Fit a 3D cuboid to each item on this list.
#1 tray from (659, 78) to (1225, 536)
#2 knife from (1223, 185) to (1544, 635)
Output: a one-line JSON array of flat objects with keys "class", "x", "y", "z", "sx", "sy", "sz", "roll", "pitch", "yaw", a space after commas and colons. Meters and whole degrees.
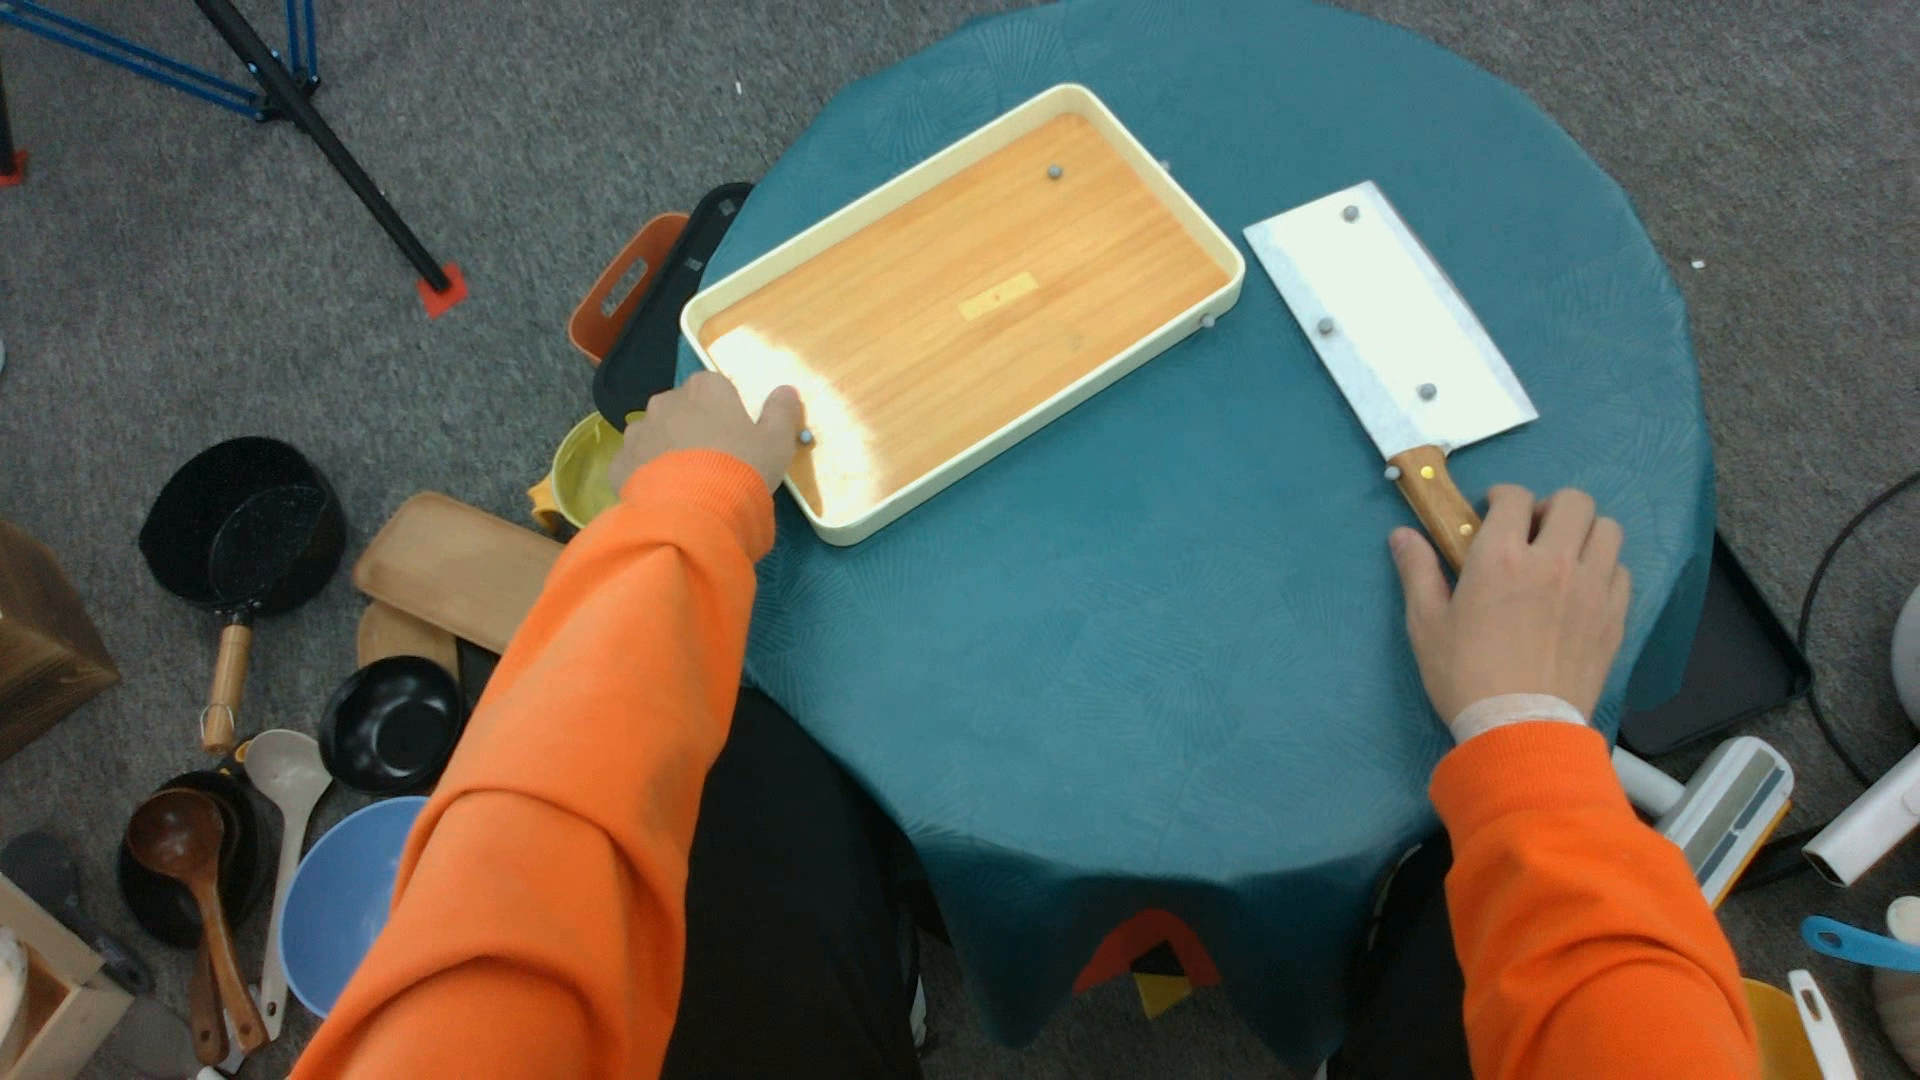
[{"class": "tray", "x": -0.011, "y": -0.148, "z": 0.830, "sx": 0.301, "sy": 0.027, "sz": 0.192, "roll": -32, "pitch": 67, "yaw": -10}, {"class": "knife", "x": 0.257, "y": -0.089, "z": 0.786, "sx": 0.093, "sy": 0.021, "sz": 0.306, "roll": -21, "pitch": 63, "yaw": -6}]
